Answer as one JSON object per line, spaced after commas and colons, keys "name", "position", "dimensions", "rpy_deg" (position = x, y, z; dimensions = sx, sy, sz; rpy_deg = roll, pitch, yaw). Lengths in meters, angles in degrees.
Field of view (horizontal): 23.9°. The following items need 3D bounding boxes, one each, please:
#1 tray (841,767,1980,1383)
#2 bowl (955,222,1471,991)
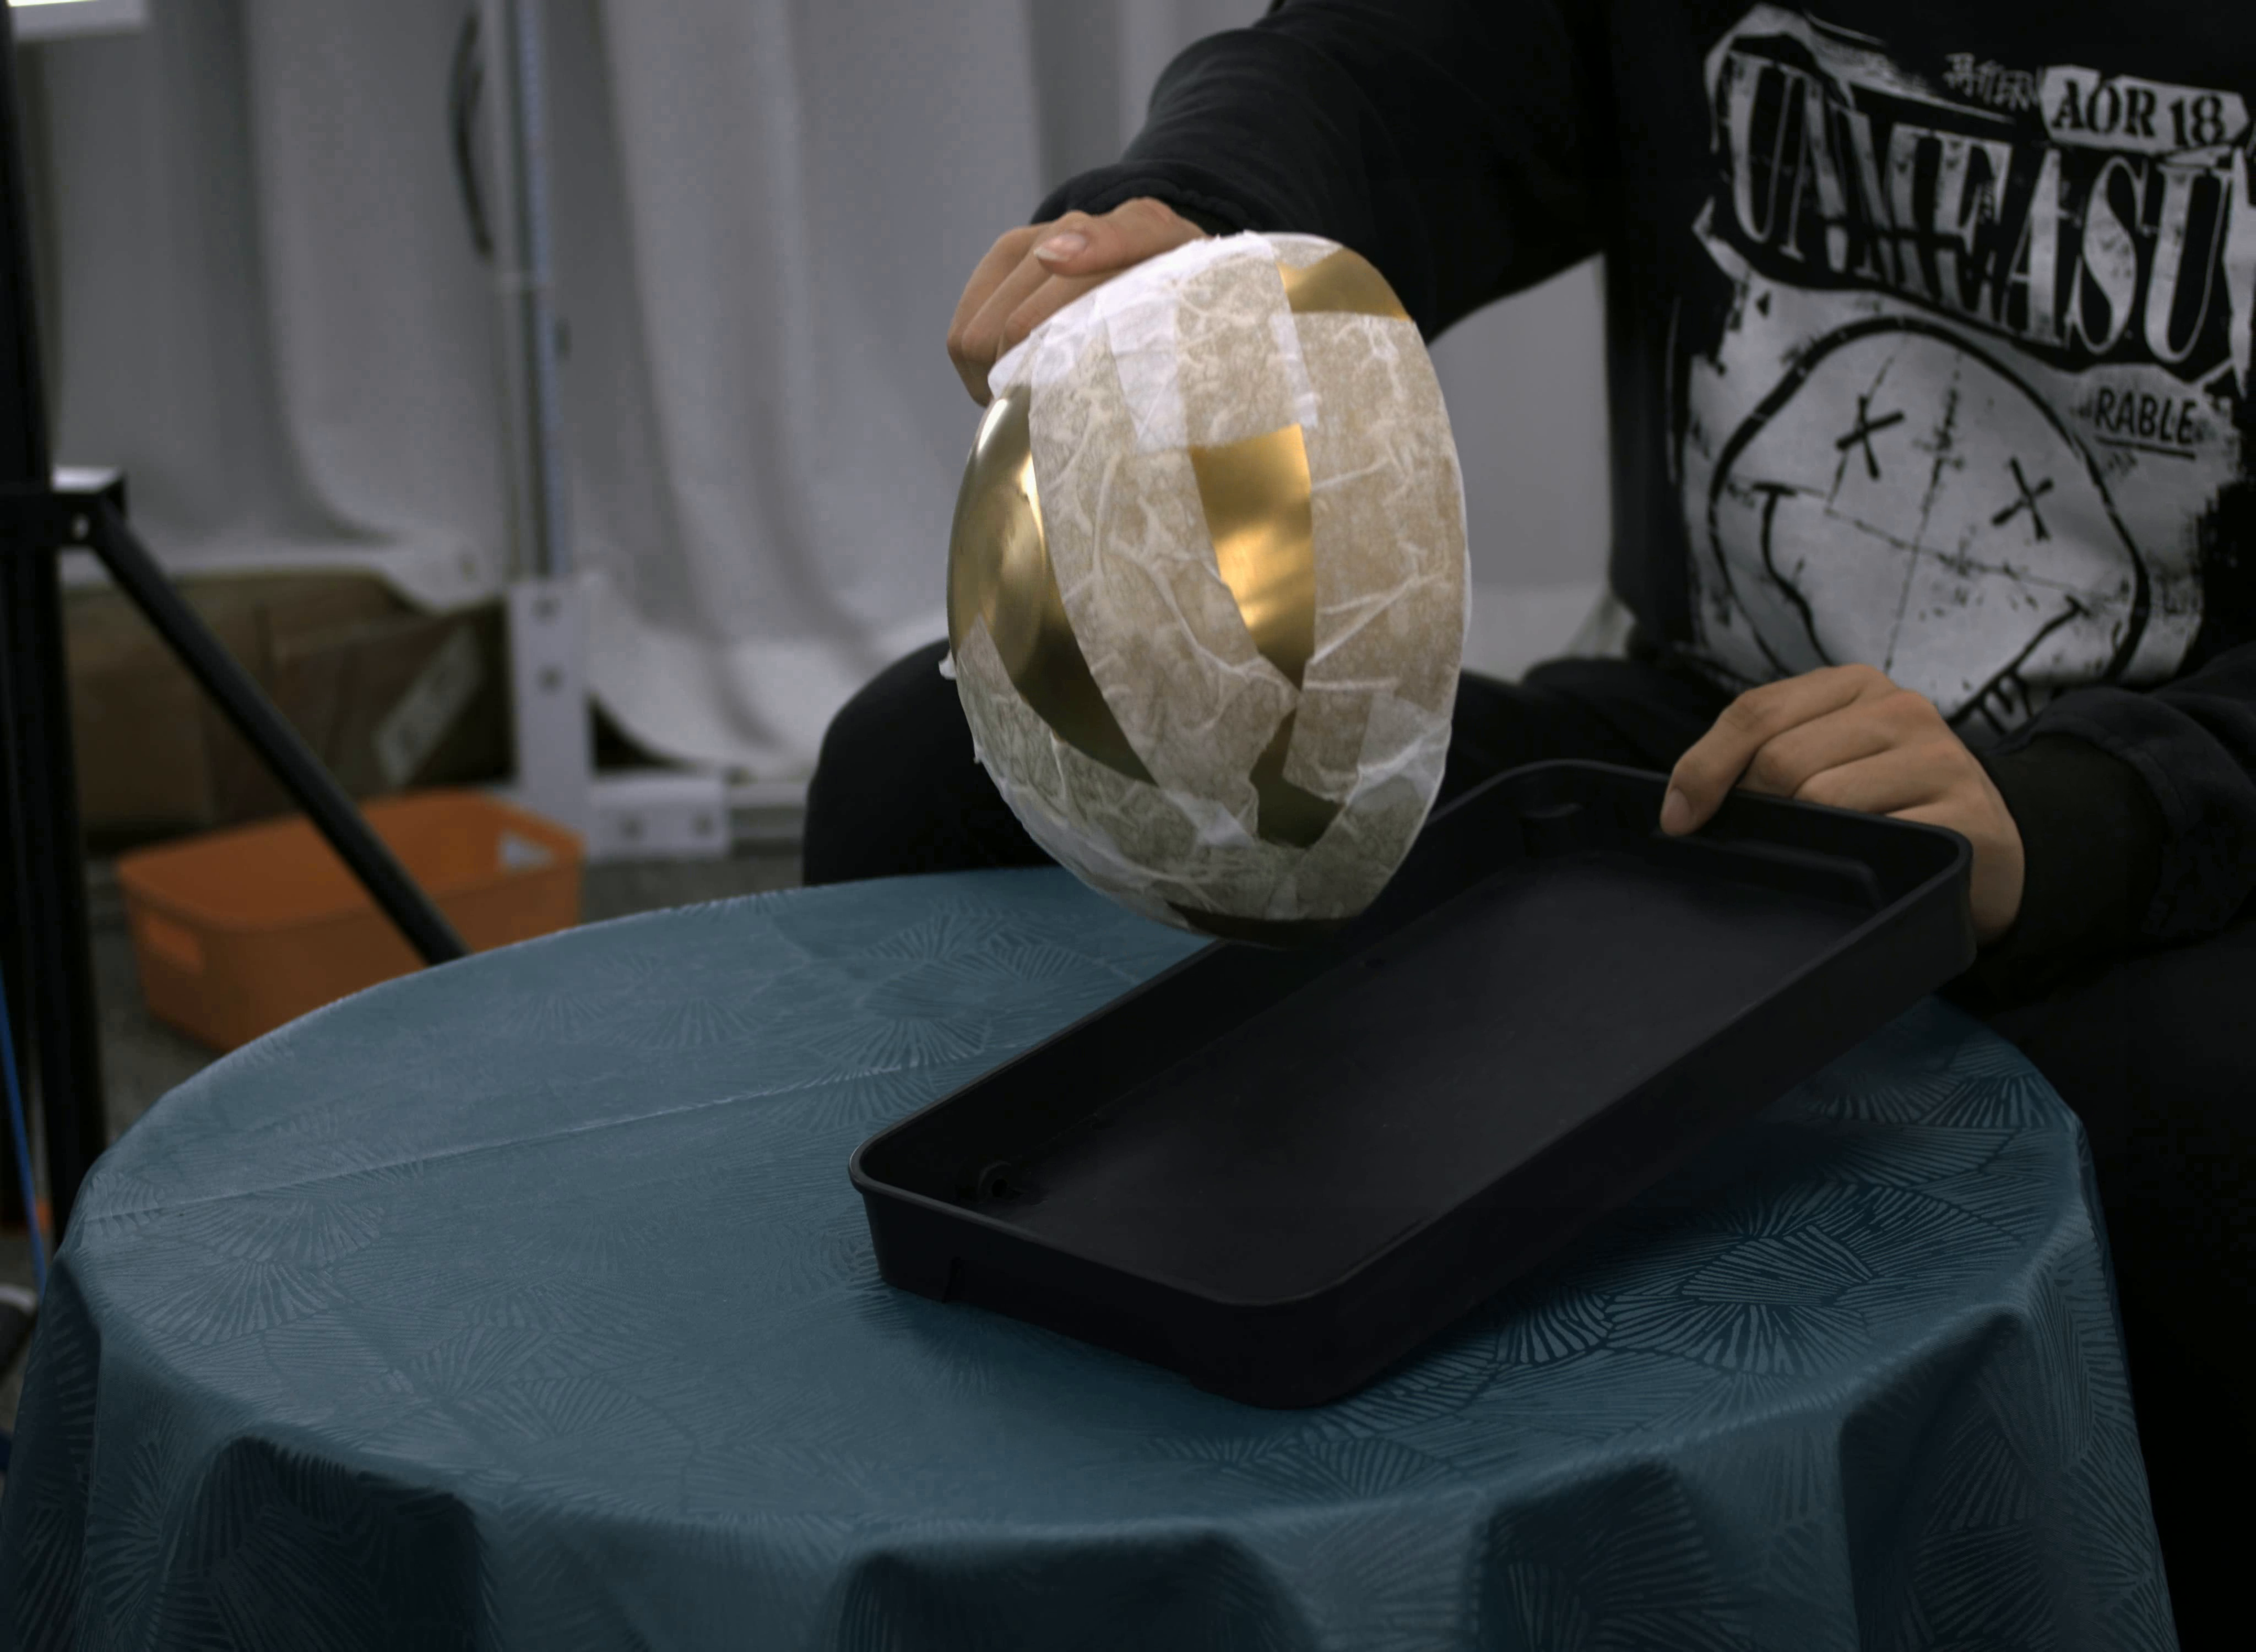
{"name": "tray", "position": [0.087, 0.064, 1.525], "dimensions": [0.312, 0.037, 0.188], "rpy_deg": [-27, 25, -36]}
{"name": "bowl", "position": [0.007, -0.063, 1.472], "dimensions": [0.092, 0.215, 0.219], "rpy_deg": [0, 14, -24]}
